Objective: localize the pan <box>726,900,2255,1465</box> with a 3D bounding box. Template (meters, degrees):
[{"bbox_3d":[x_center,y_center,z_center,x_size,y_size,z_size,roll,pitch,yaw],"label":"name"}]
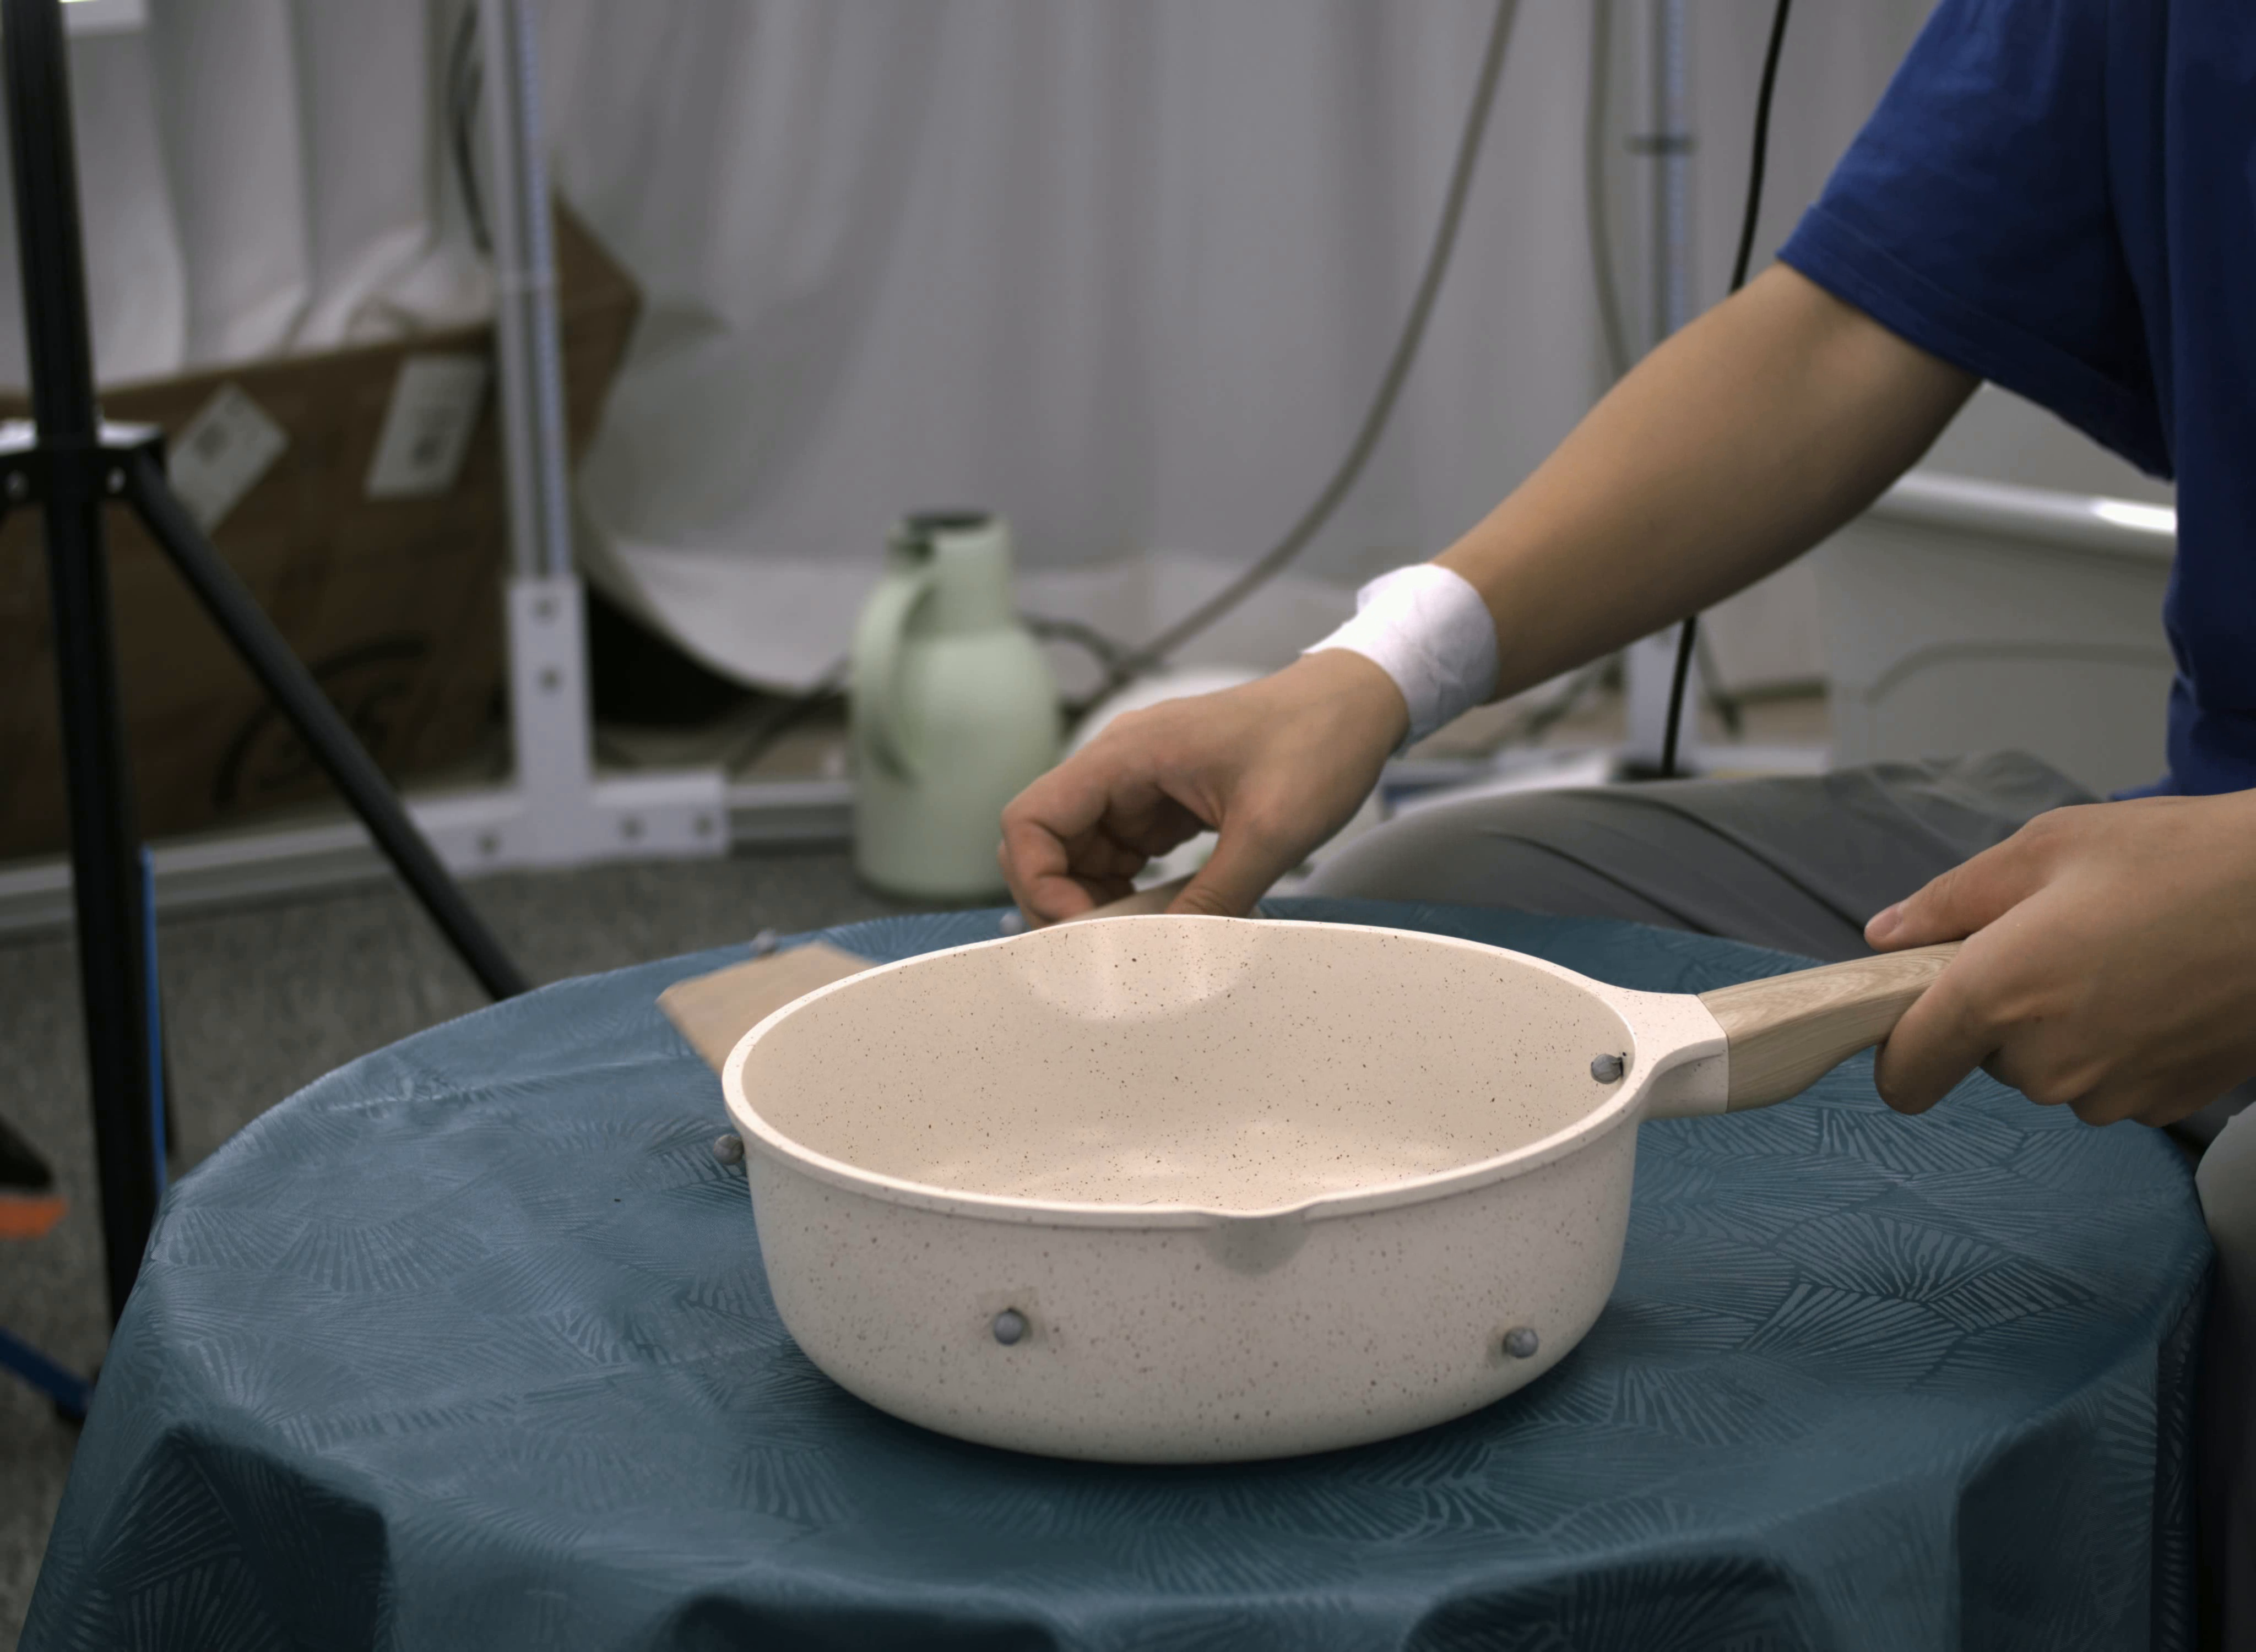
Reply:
[{"bbox_3d":[0.109,0.087,1.434,0.430,0.102,0.266,-4,14,-6],"label":"pan"}]

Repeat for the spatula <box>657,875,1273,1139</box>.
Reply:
[{"bbox_3d":[-0.040,0.052,1.697,0.073,0.011,0.287,44,33,19],"label":"spatula"}]
